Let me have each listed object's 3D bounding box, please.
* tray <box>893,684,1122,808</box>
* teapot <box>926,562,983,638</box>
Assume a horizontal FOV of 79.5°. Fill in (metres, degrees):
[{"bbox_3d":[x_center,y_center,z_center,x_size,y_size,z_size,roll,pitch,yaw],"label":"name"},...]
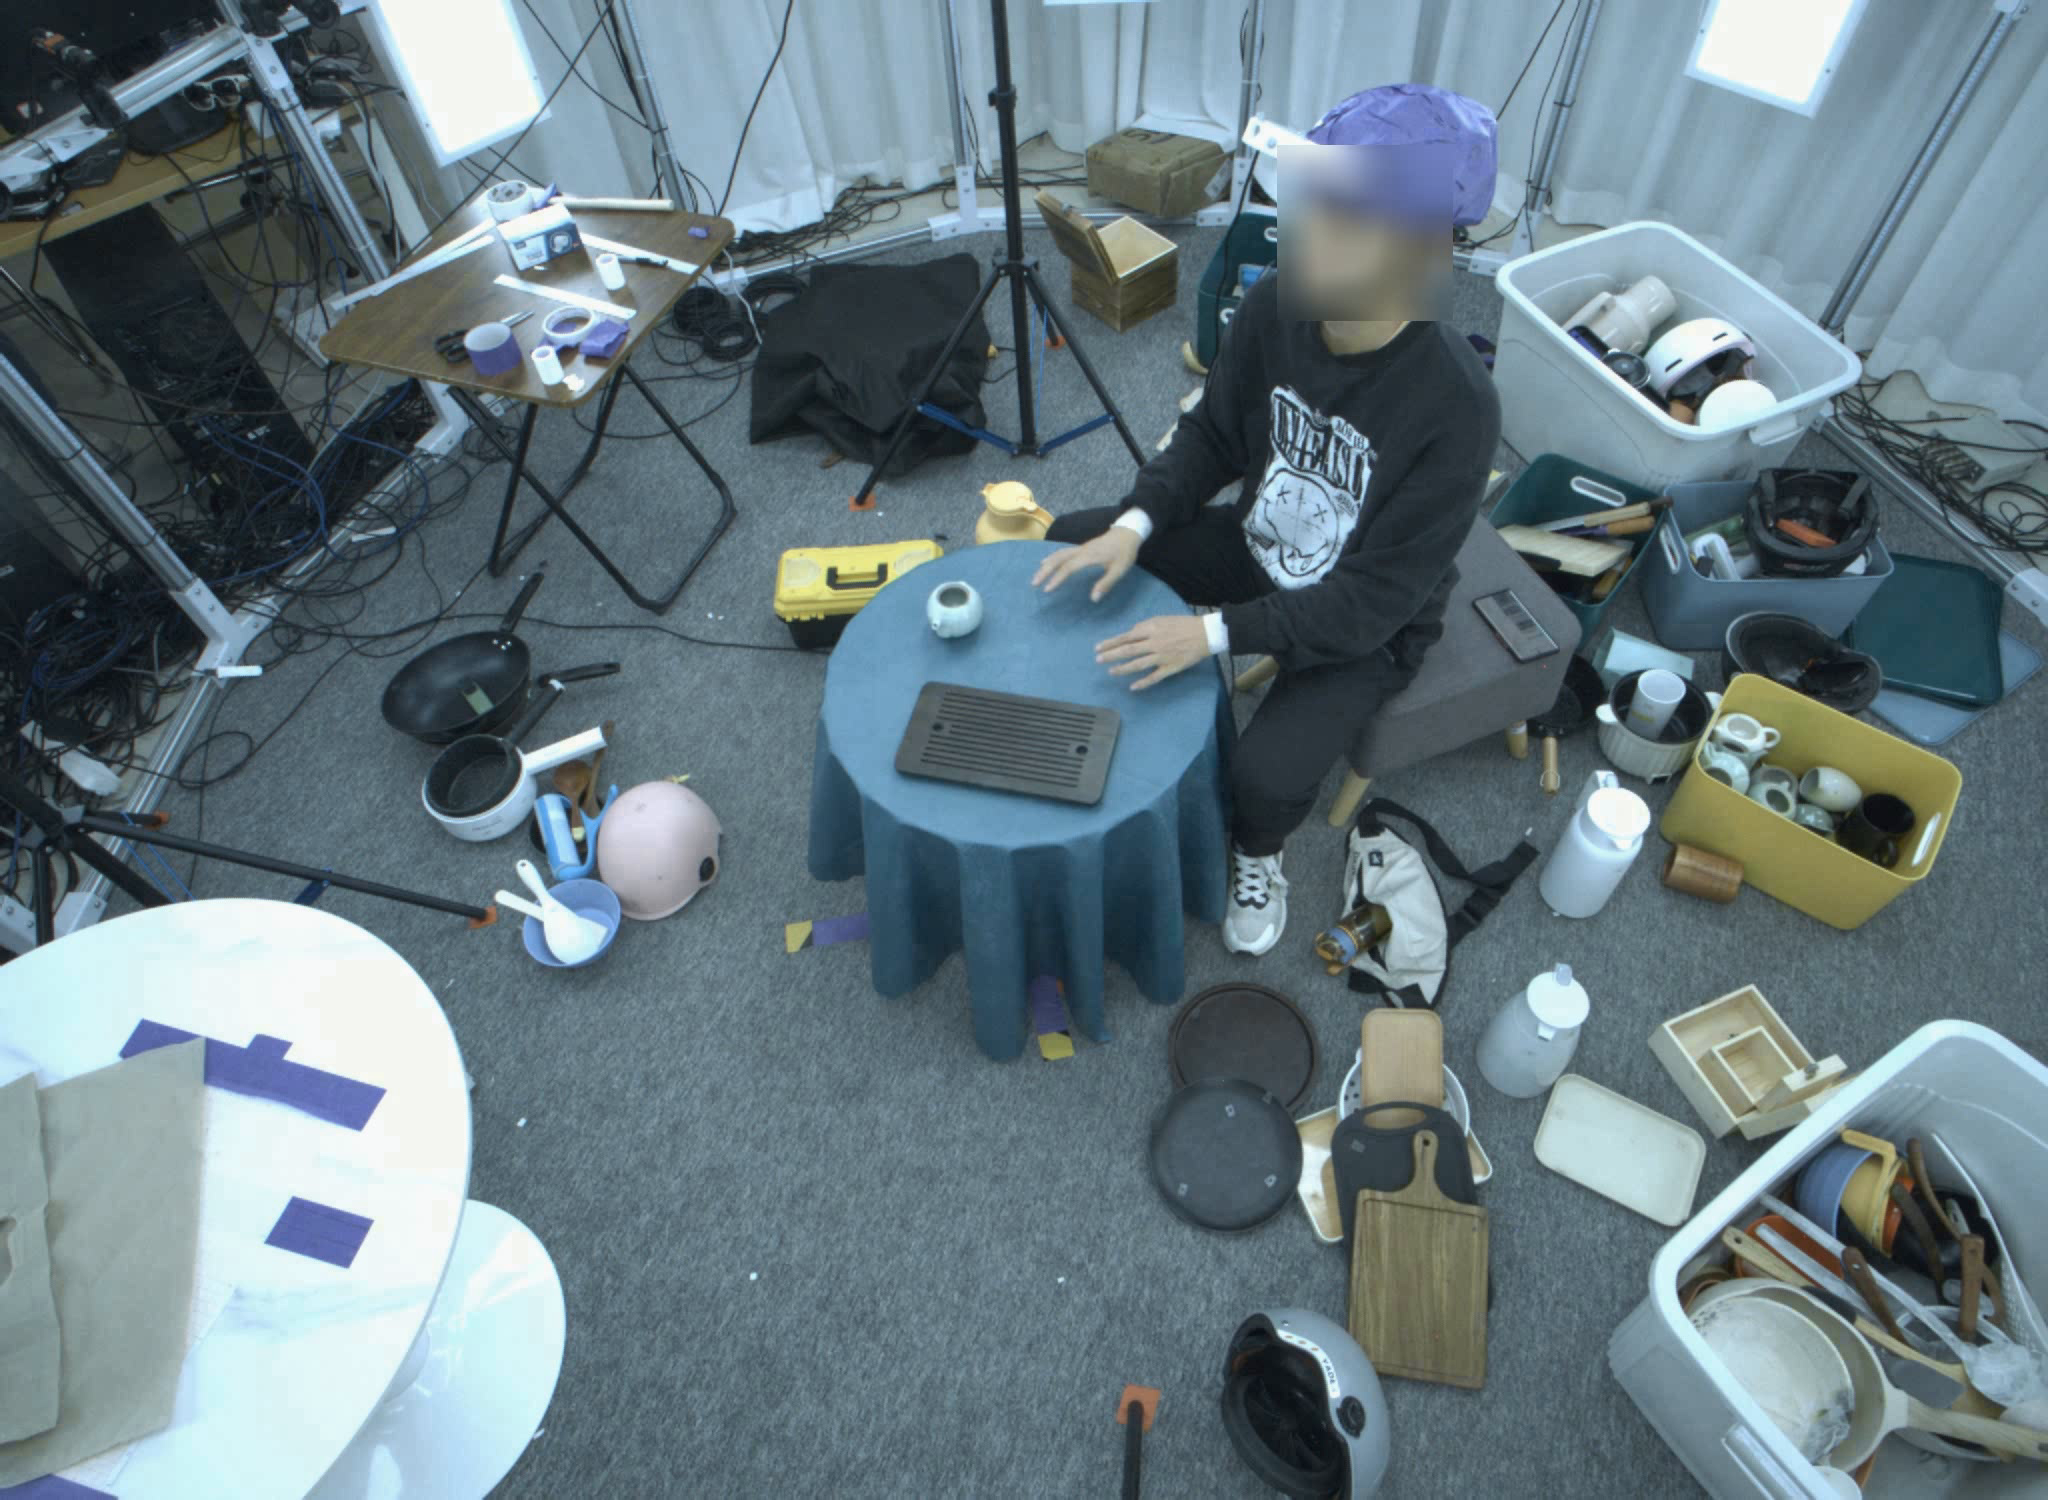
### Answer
[{"bbox_3d":[-0.023,-0.007,1.778,0.304,0.019,0.169,10,55,8],"label":"tray"},{"bbox_3d":[-0.108,-0.219,1.898,0.087,0.075,0.144,17,59,15],"label":"teapot"}]
